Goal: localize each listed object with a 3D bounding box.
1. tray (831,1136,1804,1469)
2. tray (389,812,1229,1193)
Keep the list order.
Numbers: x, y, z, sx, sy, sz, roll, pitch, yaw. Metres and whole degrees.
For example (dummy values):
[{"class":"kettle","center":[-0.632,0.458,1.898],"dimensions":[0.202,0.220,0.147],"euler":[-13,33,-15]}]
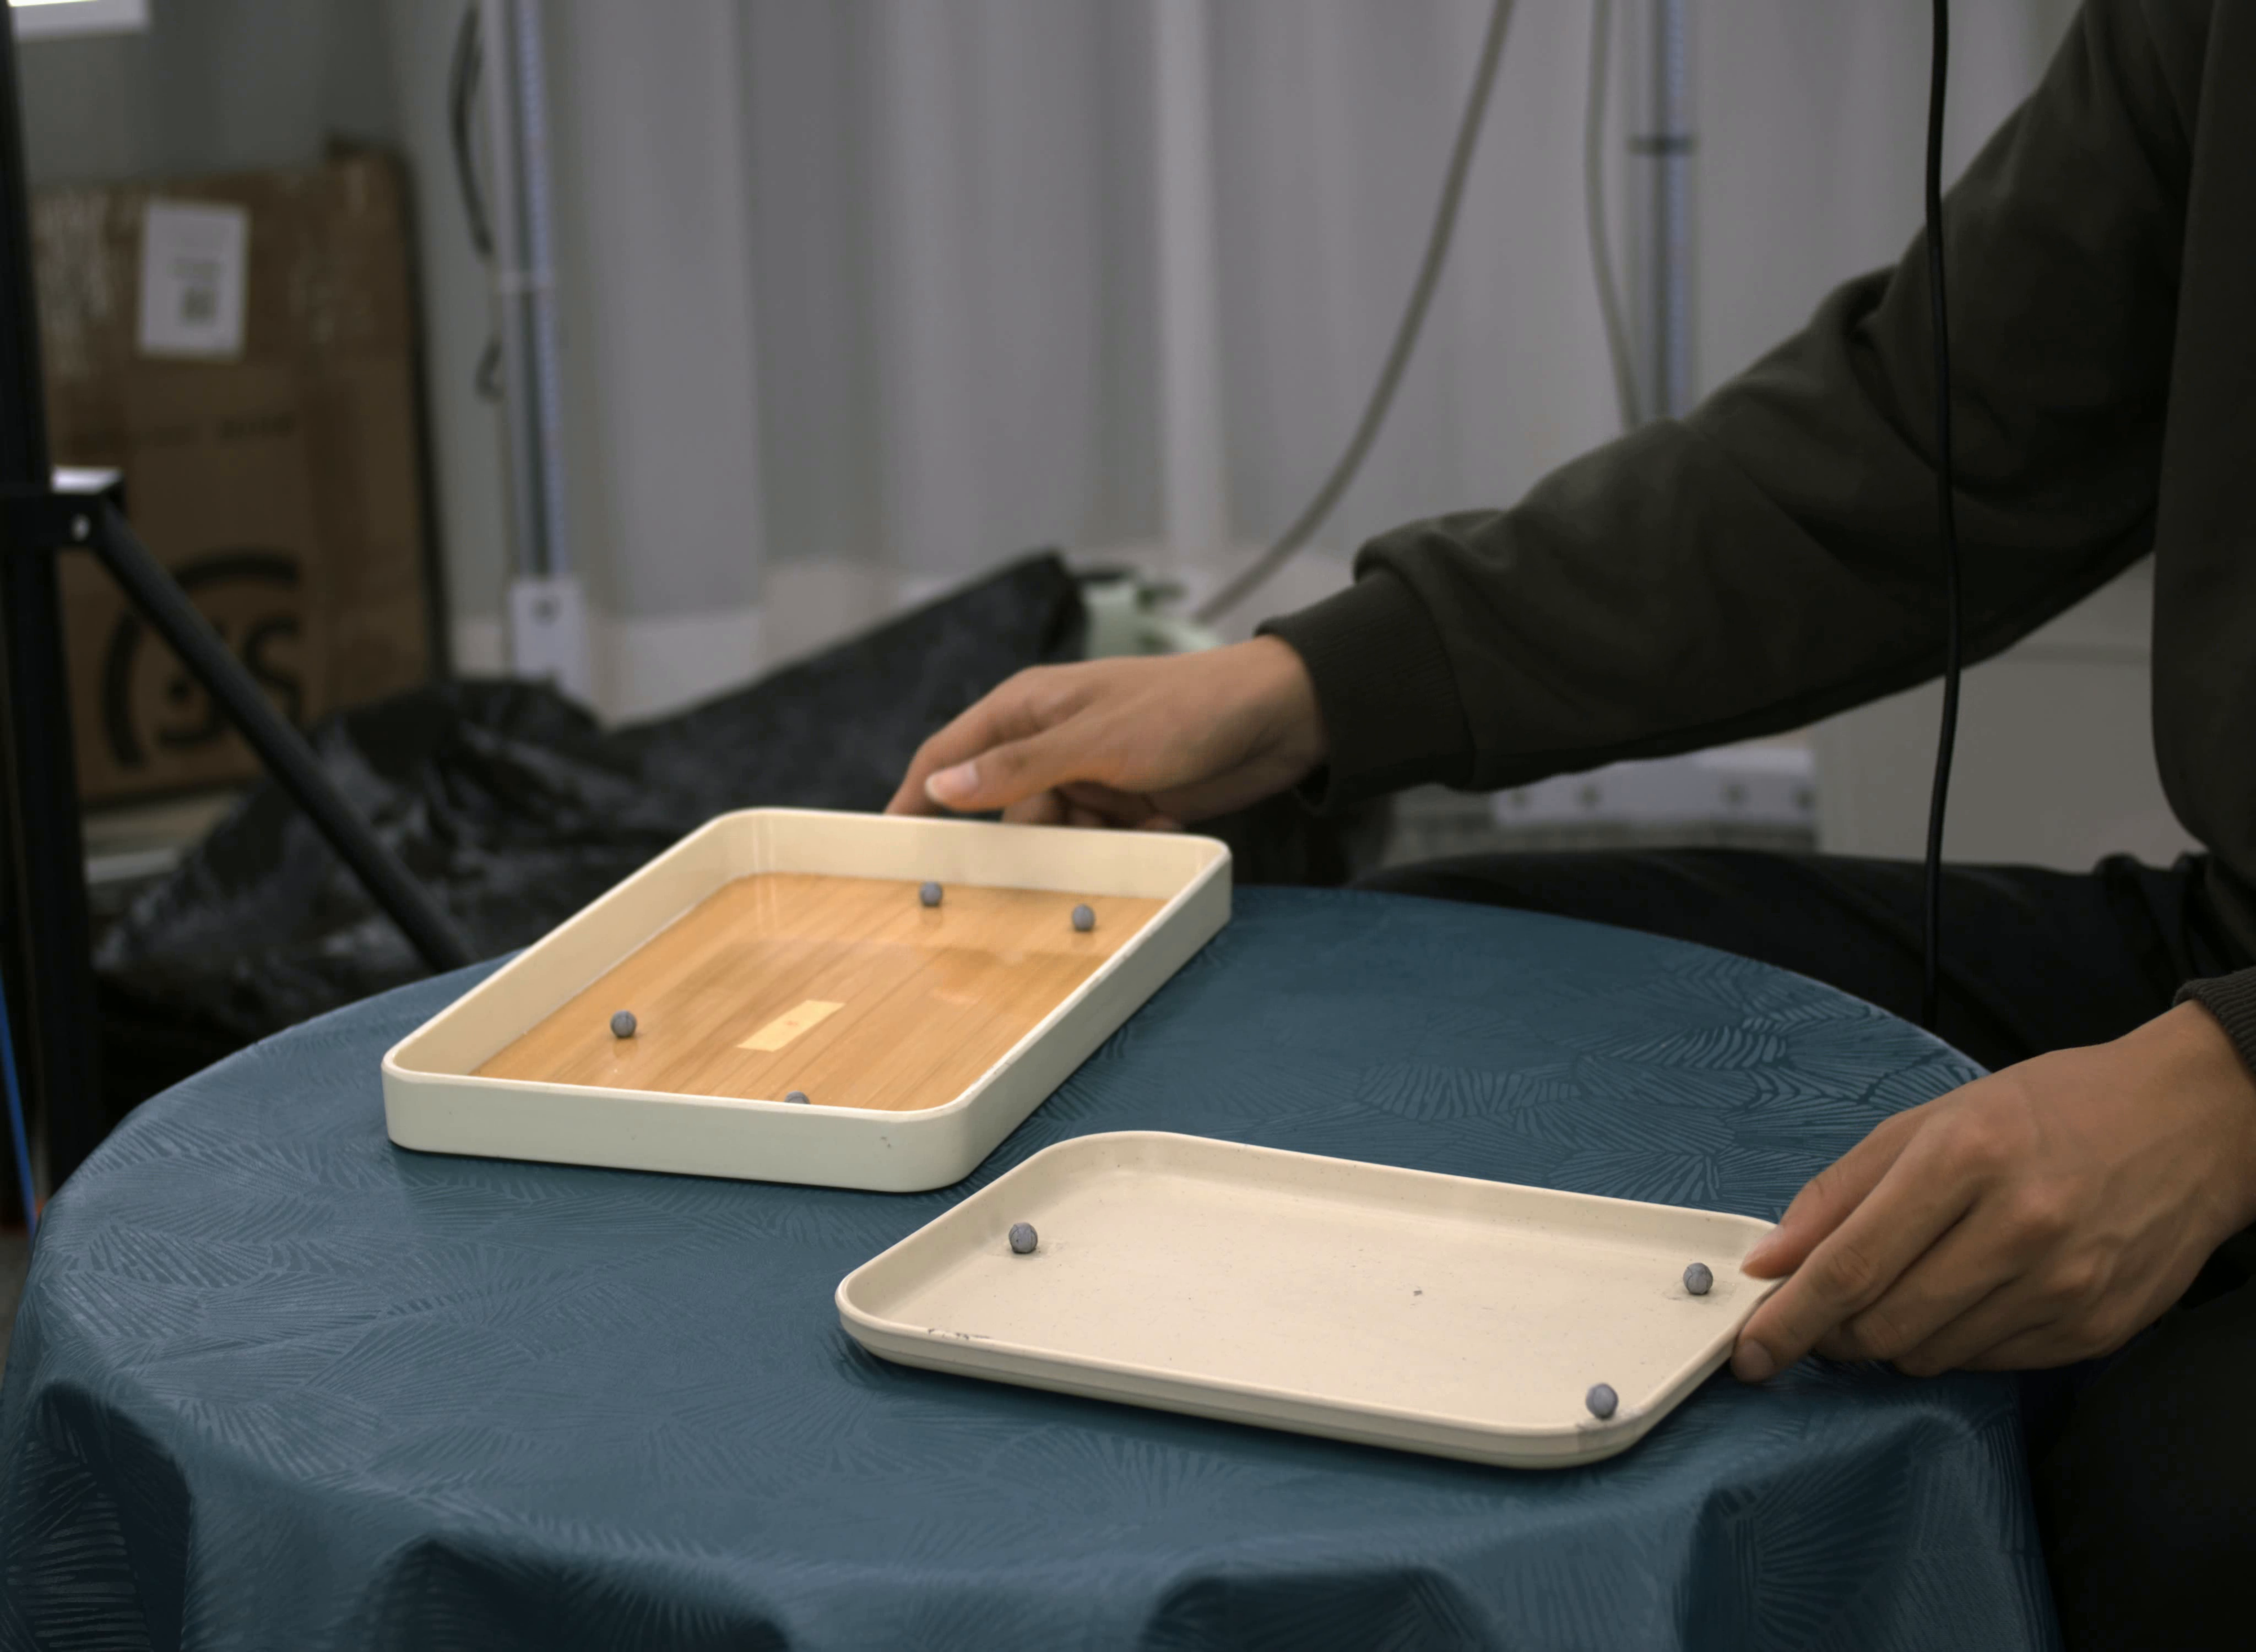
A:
[{"class":"tray","center":[0.053,0.129,1.448],"dimensions":[0.244,0.017,0.168],"euler":[6,17,28]},{"class":"tray","center":[-0.095,0.052,1.721],"dimensions":[0.193,0.027,0.297],"euler":[3,17,19]}]
